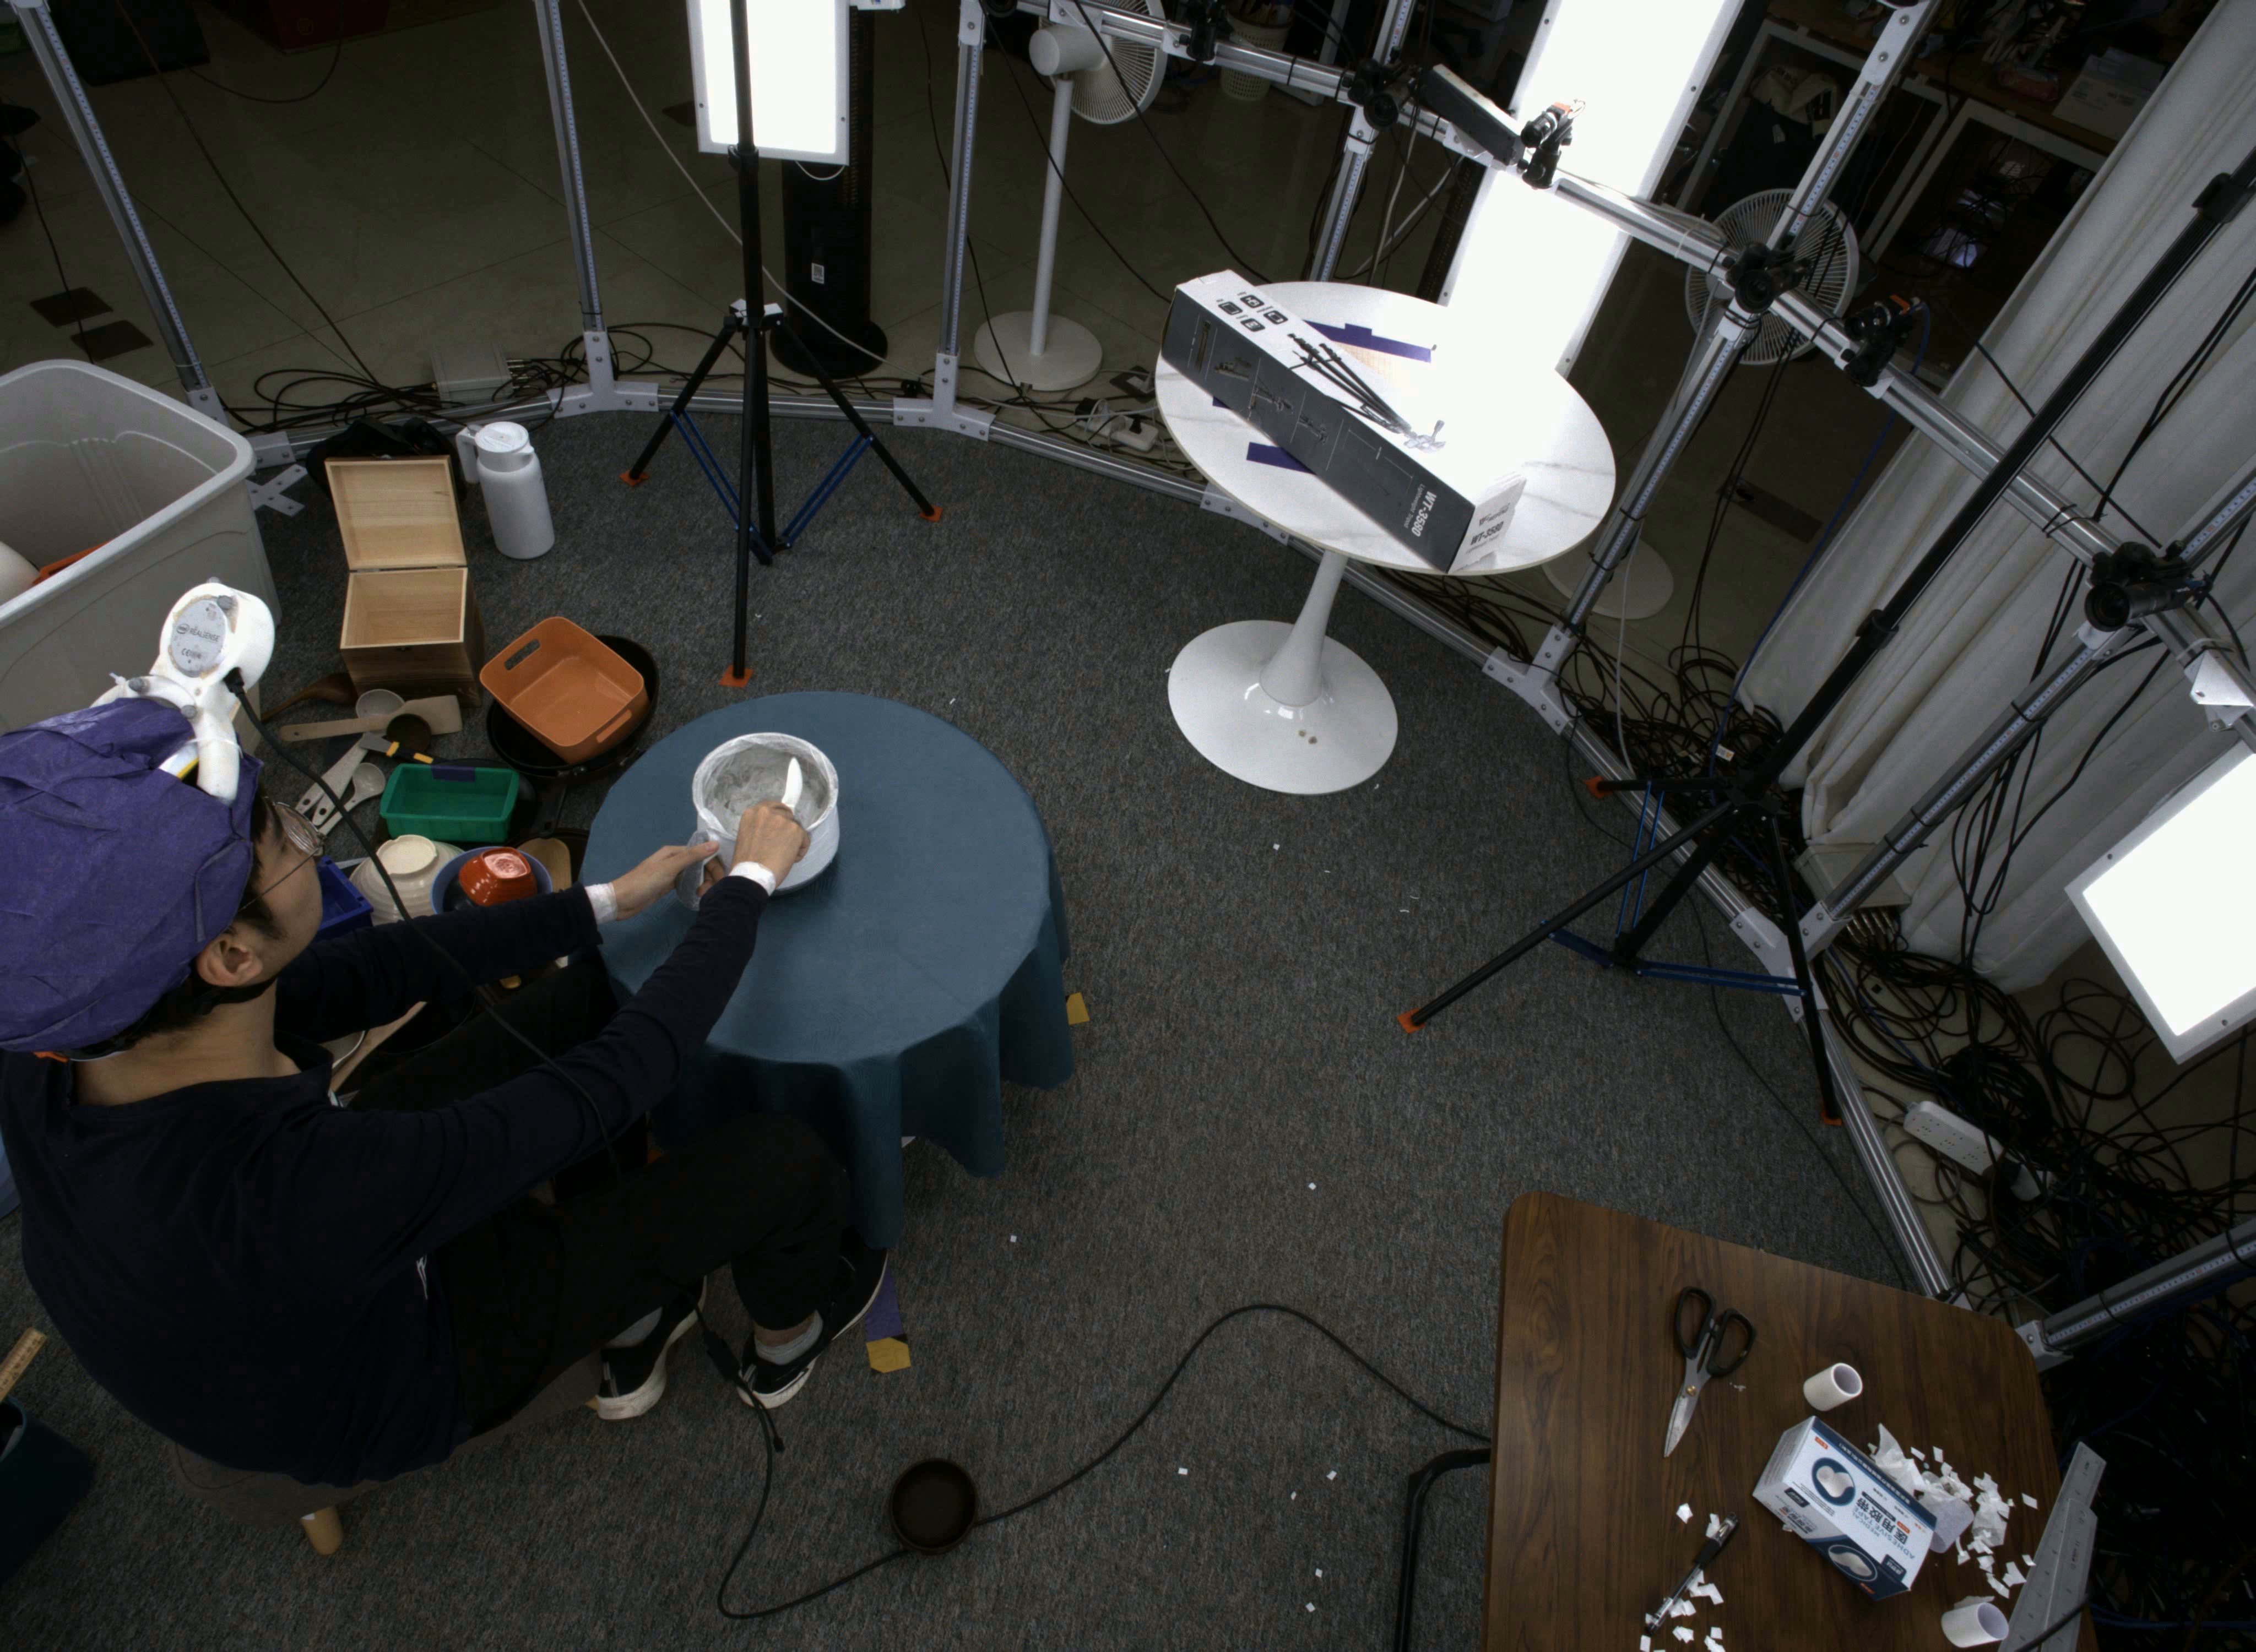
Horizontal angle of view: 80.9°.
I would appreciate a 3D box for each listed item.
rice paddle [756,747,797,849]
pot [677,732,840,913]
[{"bbox_3d":[-0.415,-0.034,1.540,0.029,0.071,0.200,2,27,-9],"label":"rice paddle"},{"bbox_3d":[-0.475,0.006,1.633,0.175,0.140,0.233,33,55,15],"label":"pot"}]
